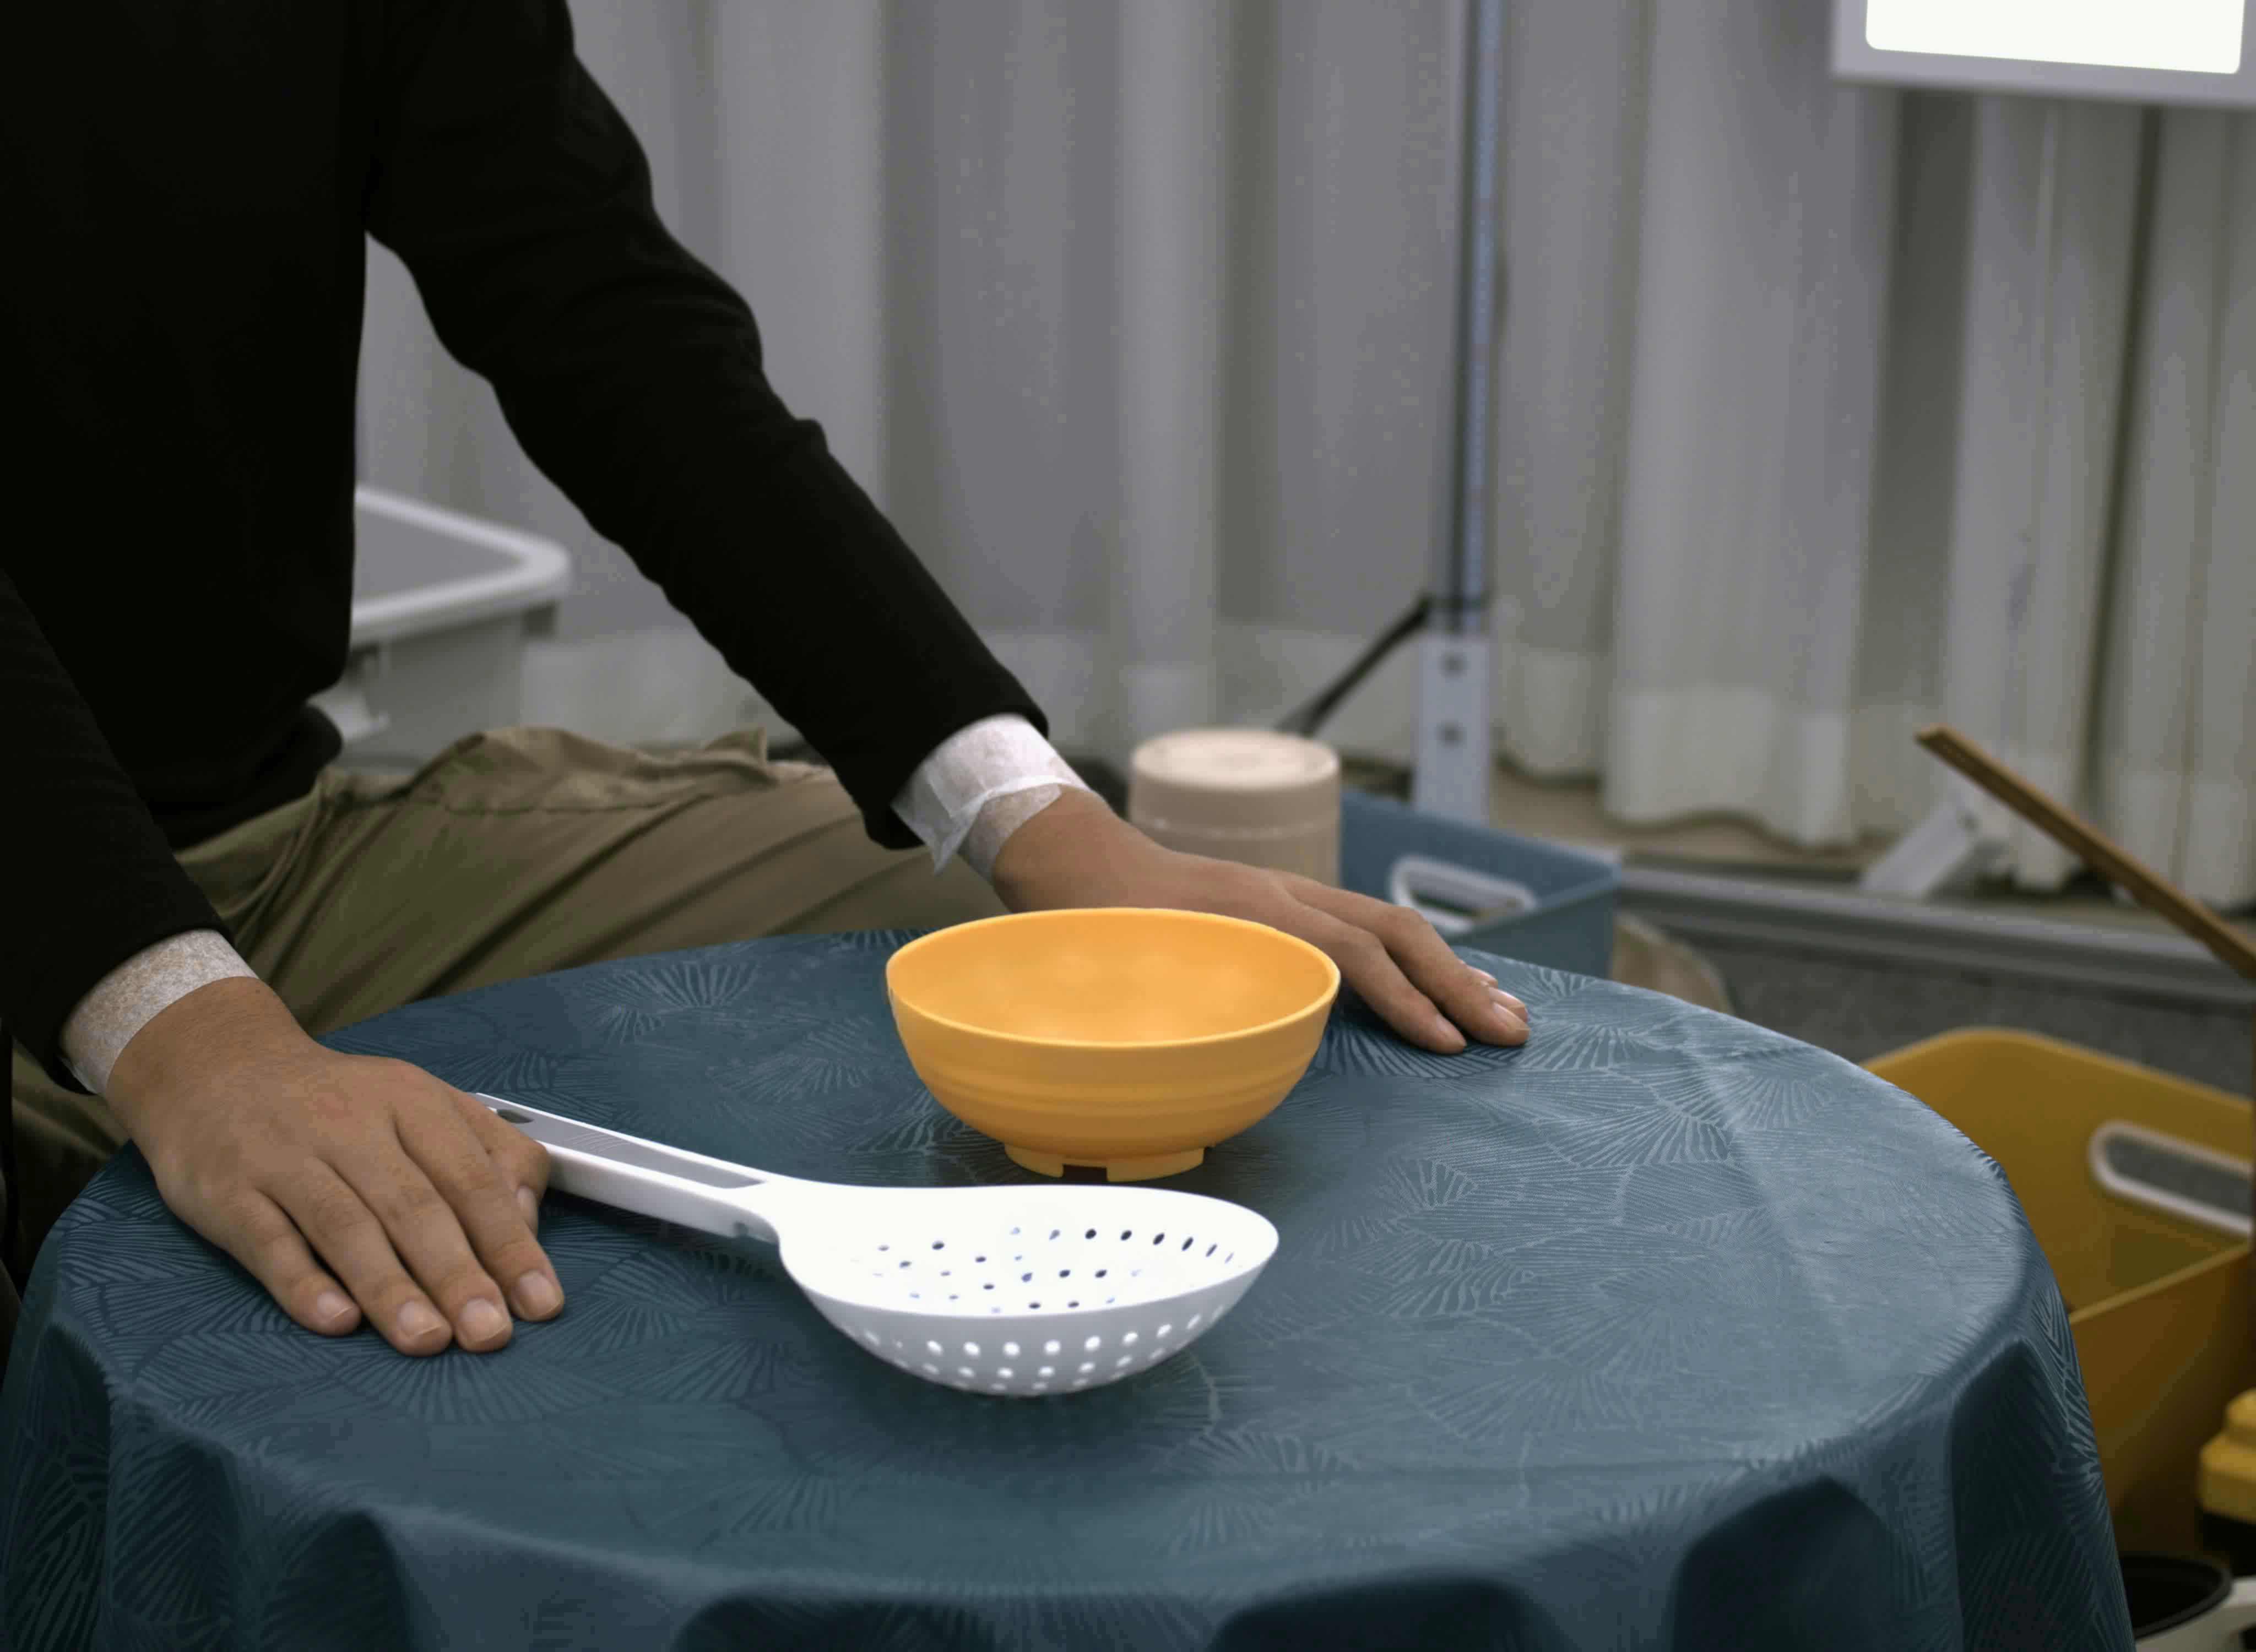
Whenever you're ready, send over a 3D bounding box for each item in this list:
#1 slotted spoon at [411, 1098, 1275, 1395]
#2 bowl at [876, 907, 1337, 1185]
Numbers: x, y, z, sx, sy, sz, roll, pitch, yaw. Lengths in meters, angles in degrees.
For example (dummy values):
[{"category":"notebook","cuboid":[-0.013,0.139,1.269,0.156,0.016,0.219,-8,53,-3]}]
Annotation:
[{"category":"slotted spoon","cuboid":[-0.100,0.112,1.532,0.137,0.046,0.345,-13,19,-42]},{"category":"bowl","cuboid":[-0.008,0.074,1.652,0.145,0.060,0.144,2,16,0]}]
